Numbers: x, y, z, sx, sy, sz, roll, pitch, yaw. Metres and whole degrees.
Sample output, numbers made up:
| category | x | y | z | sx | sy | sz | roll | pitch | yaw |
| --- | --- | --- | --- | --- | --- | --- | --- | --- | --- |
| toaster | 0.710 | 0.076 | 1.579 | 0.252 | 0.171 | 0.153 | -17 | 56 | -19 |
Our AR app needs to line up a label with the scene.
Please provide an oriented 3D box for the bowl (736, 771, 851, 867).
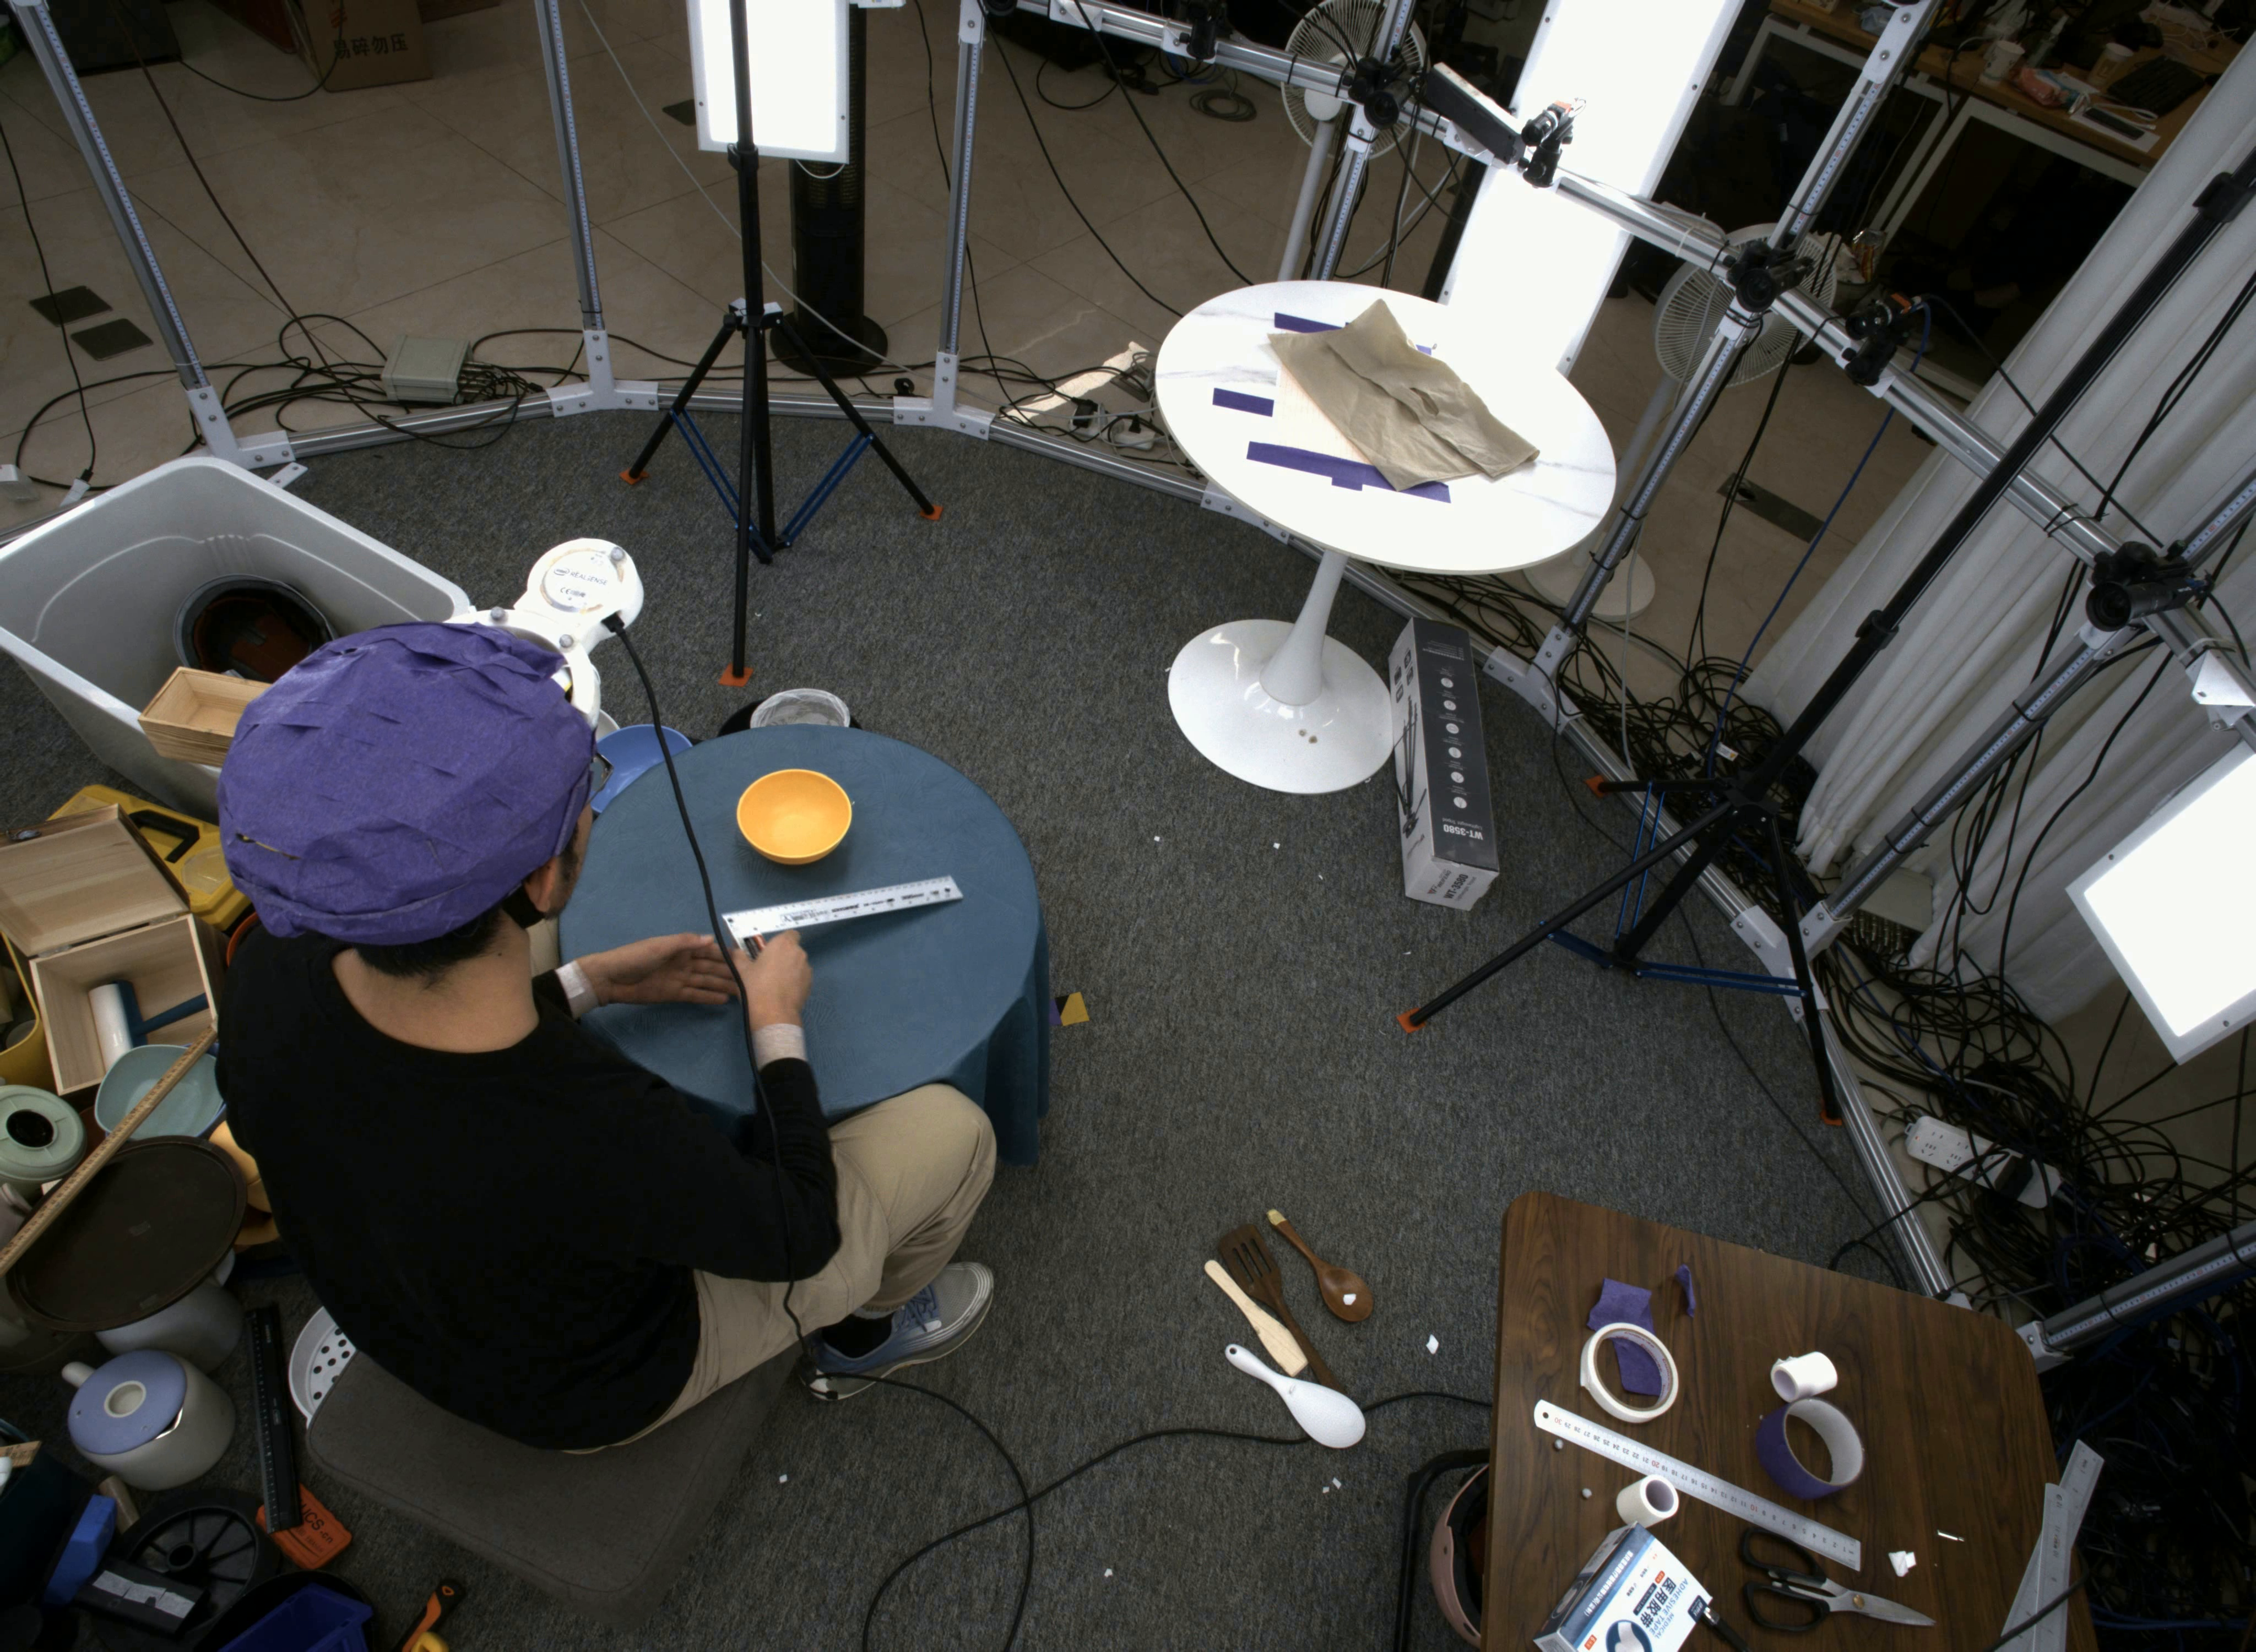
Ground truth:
| category | x | y | z | sx | sy | sz | roll | pitch | yaw |
| --- | --- | --- | --- | --- | --- | --- | --- | --- | --- |
| bowl | -0.431 | 0.001 | 1.681 | 0.145 | 0.061 | 0.143 | 6 | 53 | -7 |

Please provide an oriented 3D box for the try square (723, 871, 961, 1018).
| category | x | y | z | sx | sy | sz | roll | pitch | yaw |
| --- | --- | --- | --- | --- | --- | --- | --- | --- | --- |
| try square | -0.324 | 0.135 | 1.594 | 0.317 | 0.016 | 0.148 | -12 | 53 | -37 |
